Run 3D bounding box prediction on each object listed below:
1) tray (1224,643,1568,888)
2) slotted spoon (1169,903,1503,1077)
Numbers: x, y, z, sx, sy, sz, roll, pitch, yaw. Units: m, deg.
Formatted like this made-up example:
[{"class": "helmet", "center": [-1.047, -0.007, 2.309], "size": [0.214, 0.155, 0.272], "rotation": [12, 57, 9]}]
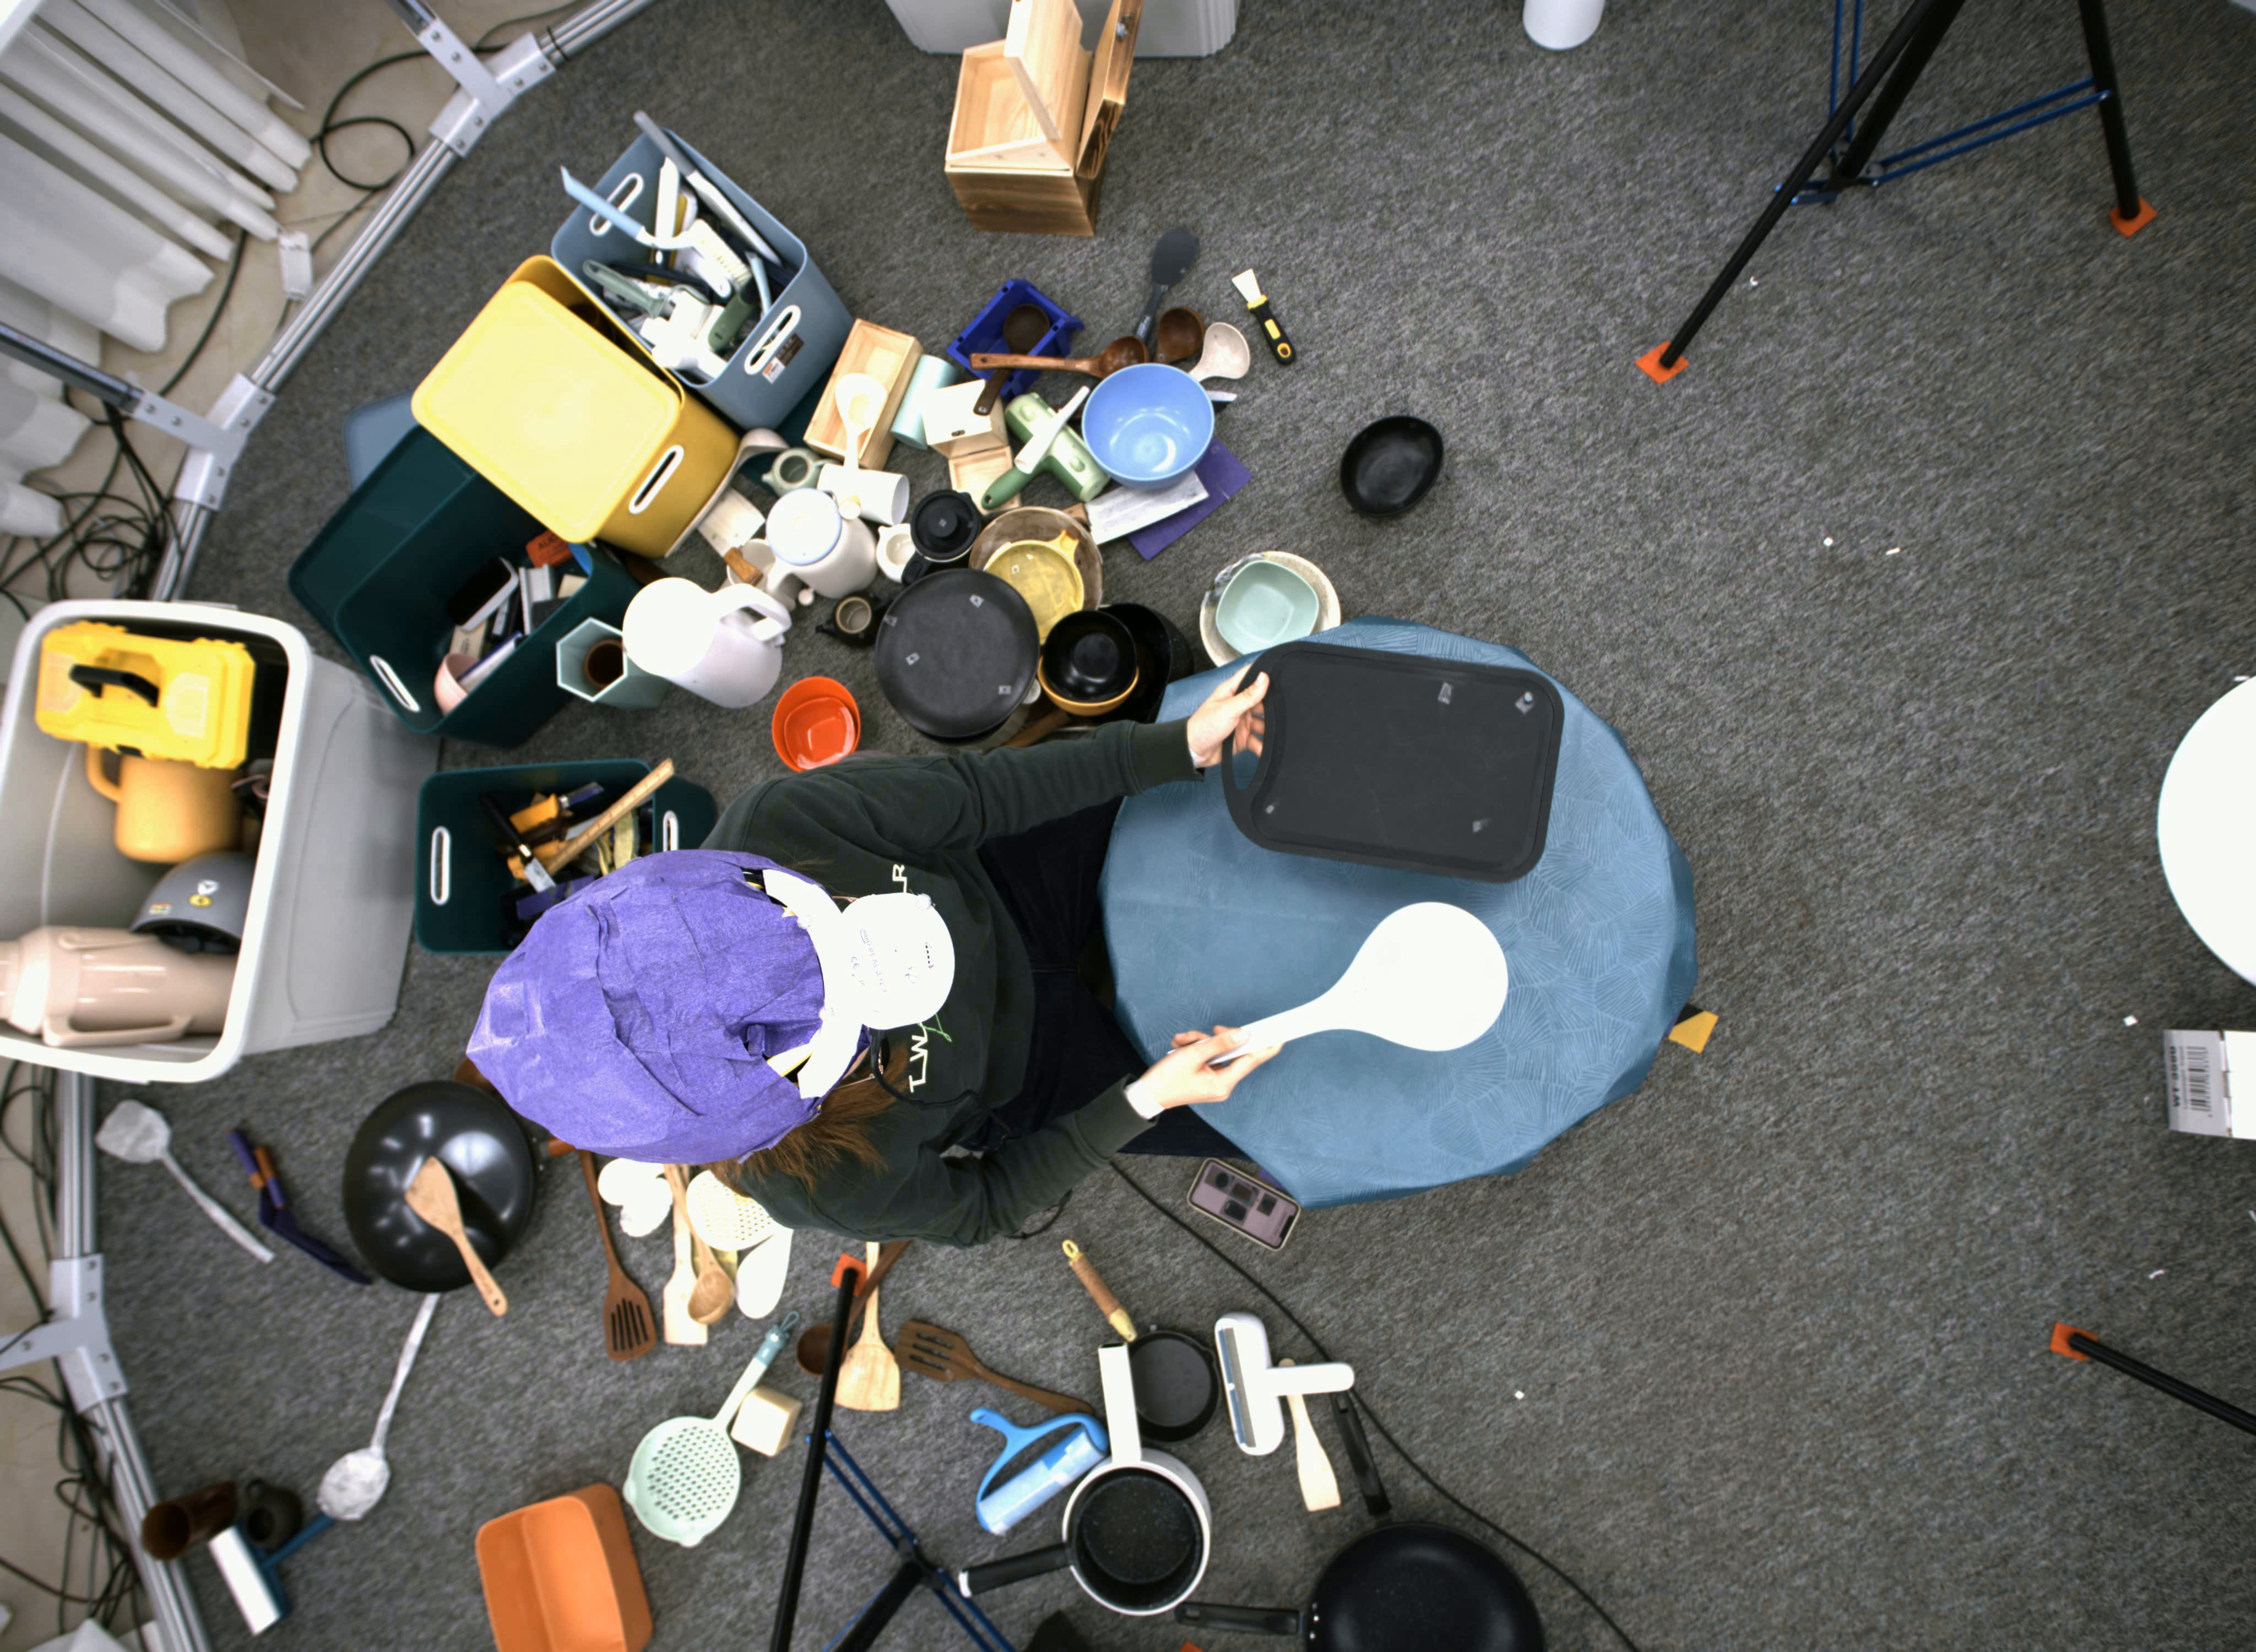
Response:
[{"class": "tray", "center": [0.257, -0.063, 1.349], "size": [0.326, 0.010, 0.212], "rotation": [9, 95, 9]}, {"class": "slotted spoon", "center": [0.195, 0.180, 1.349], "size": [0.353, 0.046, 0.134], "rotation": [-22, 74, 18]}]
